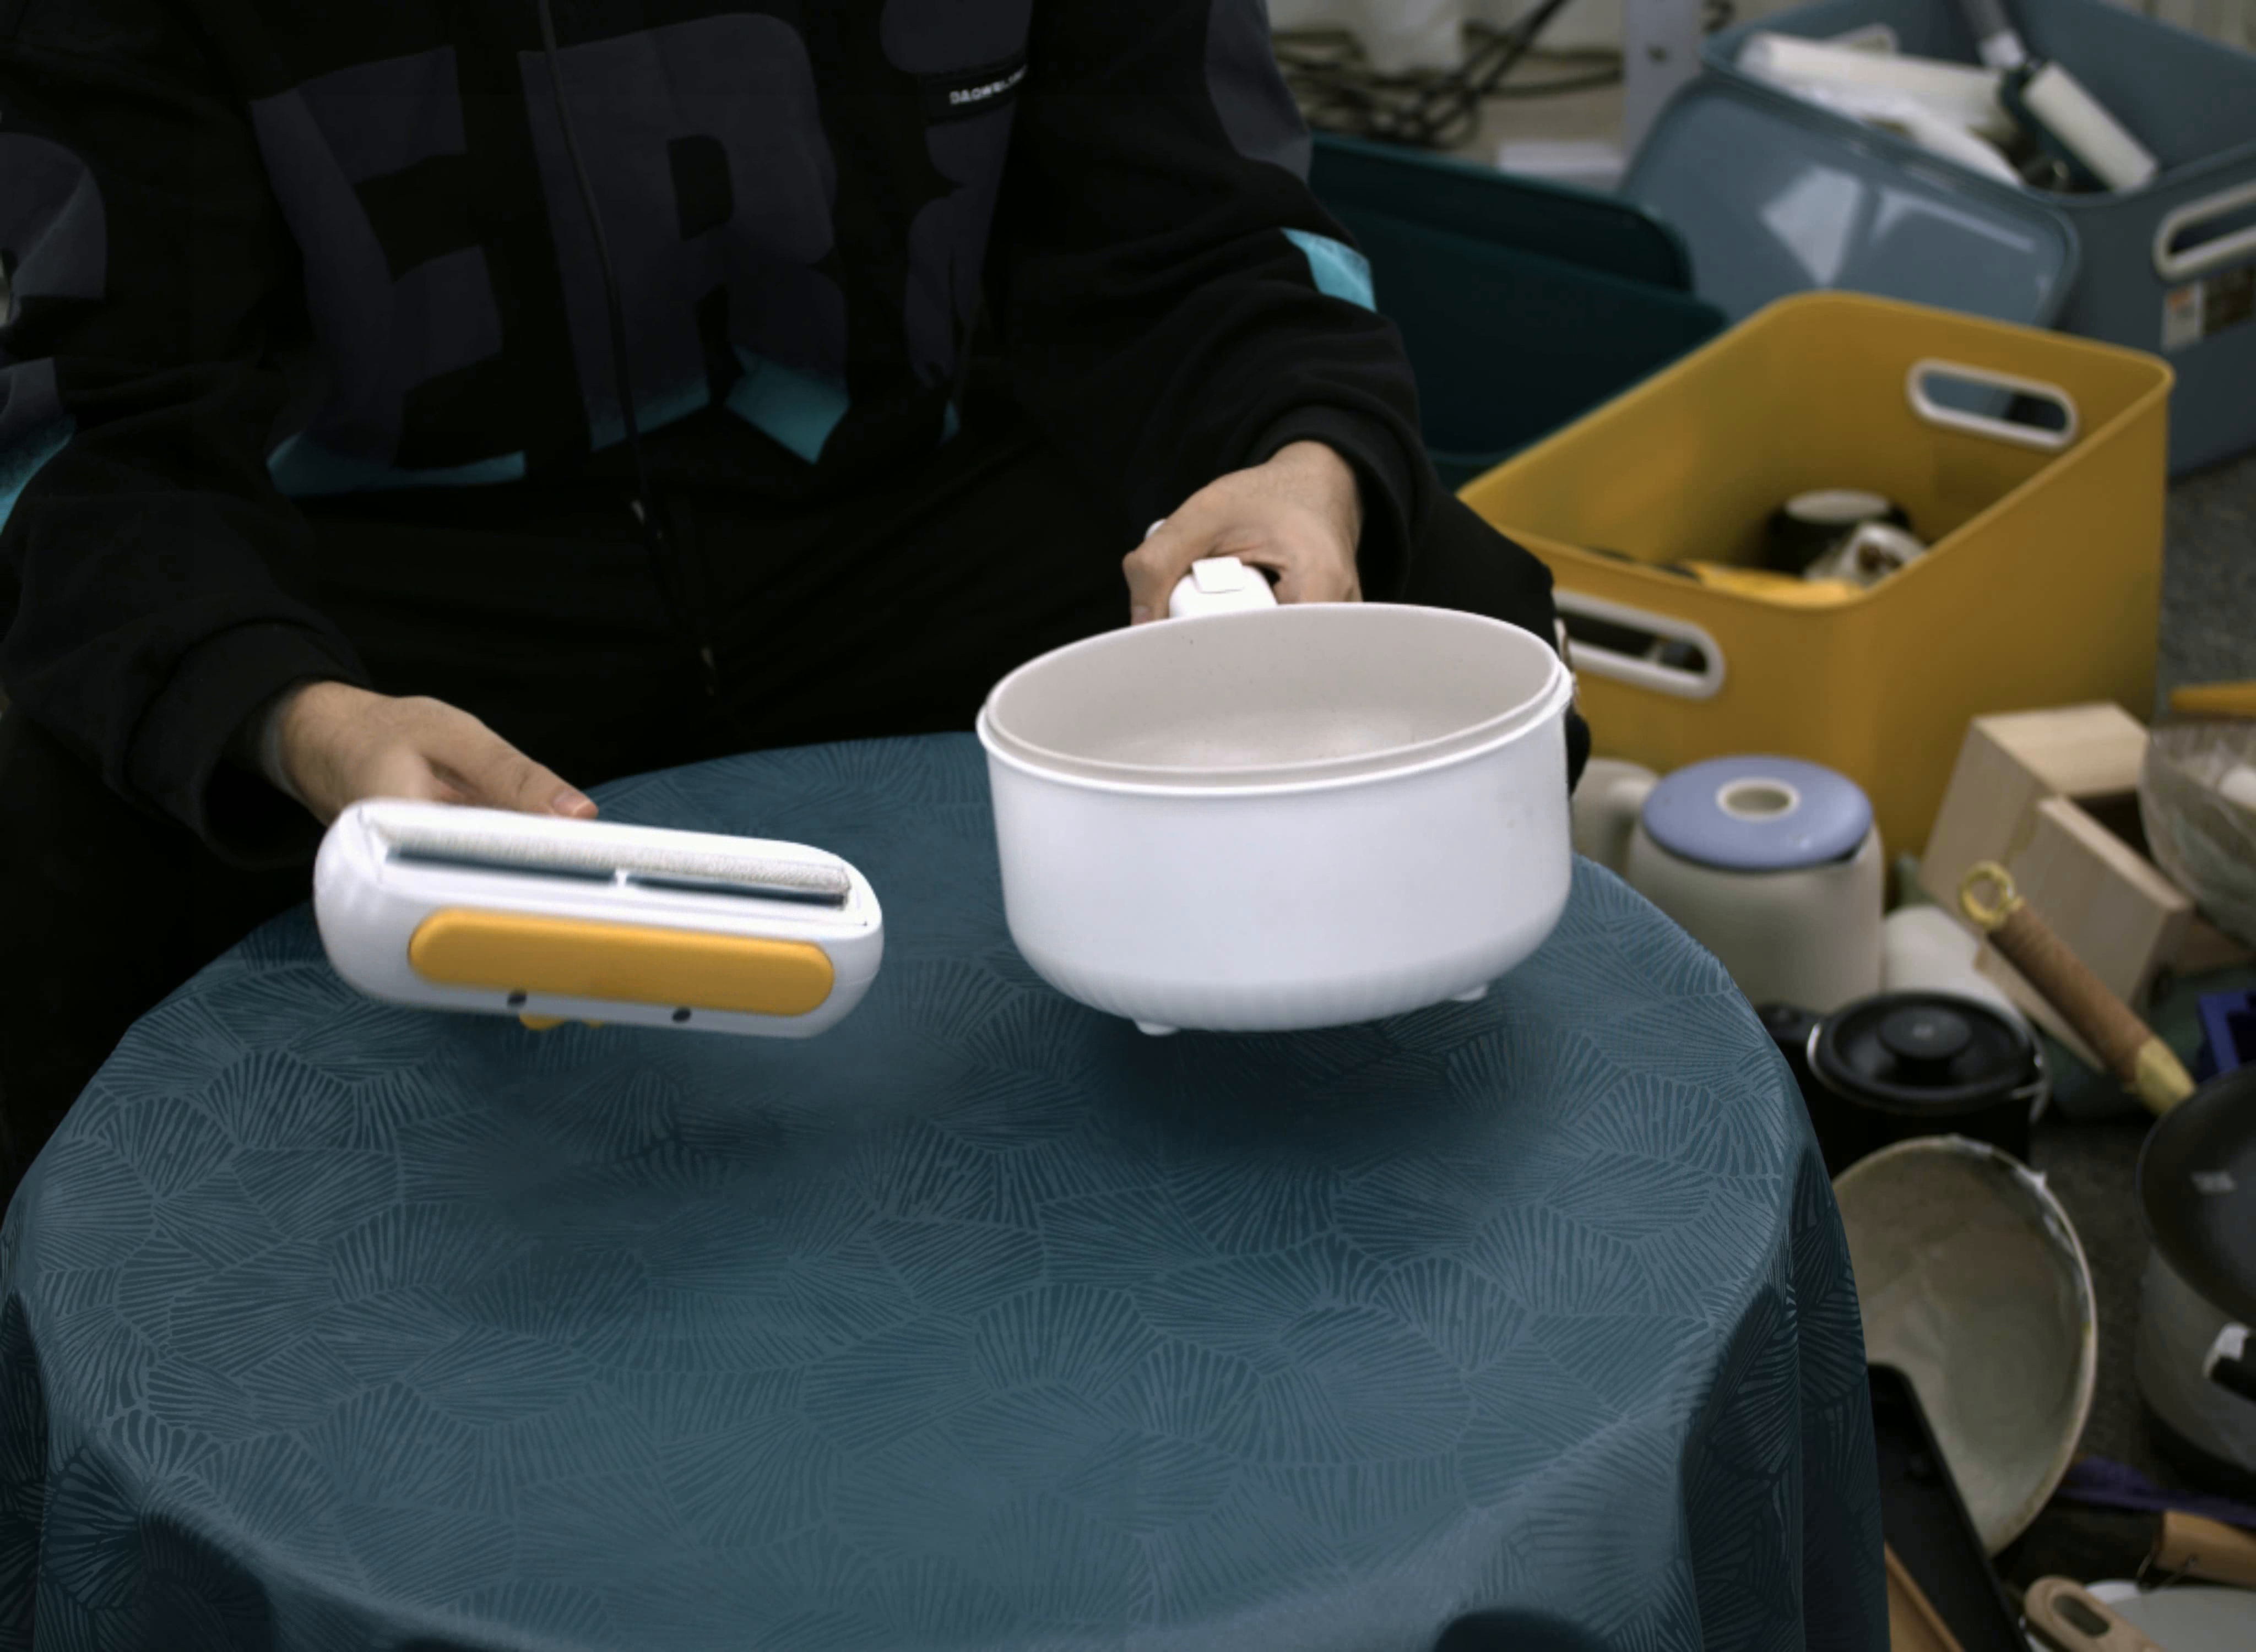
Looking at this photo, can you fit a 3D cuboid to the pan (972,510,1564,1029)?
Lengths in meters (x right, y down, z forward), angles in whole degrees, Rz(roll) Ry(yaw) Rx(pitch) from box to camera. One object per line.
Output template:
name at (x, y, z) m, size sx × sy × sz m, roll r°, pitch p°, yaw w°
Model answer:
pan at (0.044, -0.024, 1.983) m, size 0.200 × 0.101 × 0.357 m, roll -6°, pitch 17°, yaw -4°

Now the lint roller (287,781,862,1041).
lint roller at (-0.199, 0.014, 1.907) m, size 0.193 × 0.073 × 0.194 m, roll 5°, pitch 19°, yaw -20°
